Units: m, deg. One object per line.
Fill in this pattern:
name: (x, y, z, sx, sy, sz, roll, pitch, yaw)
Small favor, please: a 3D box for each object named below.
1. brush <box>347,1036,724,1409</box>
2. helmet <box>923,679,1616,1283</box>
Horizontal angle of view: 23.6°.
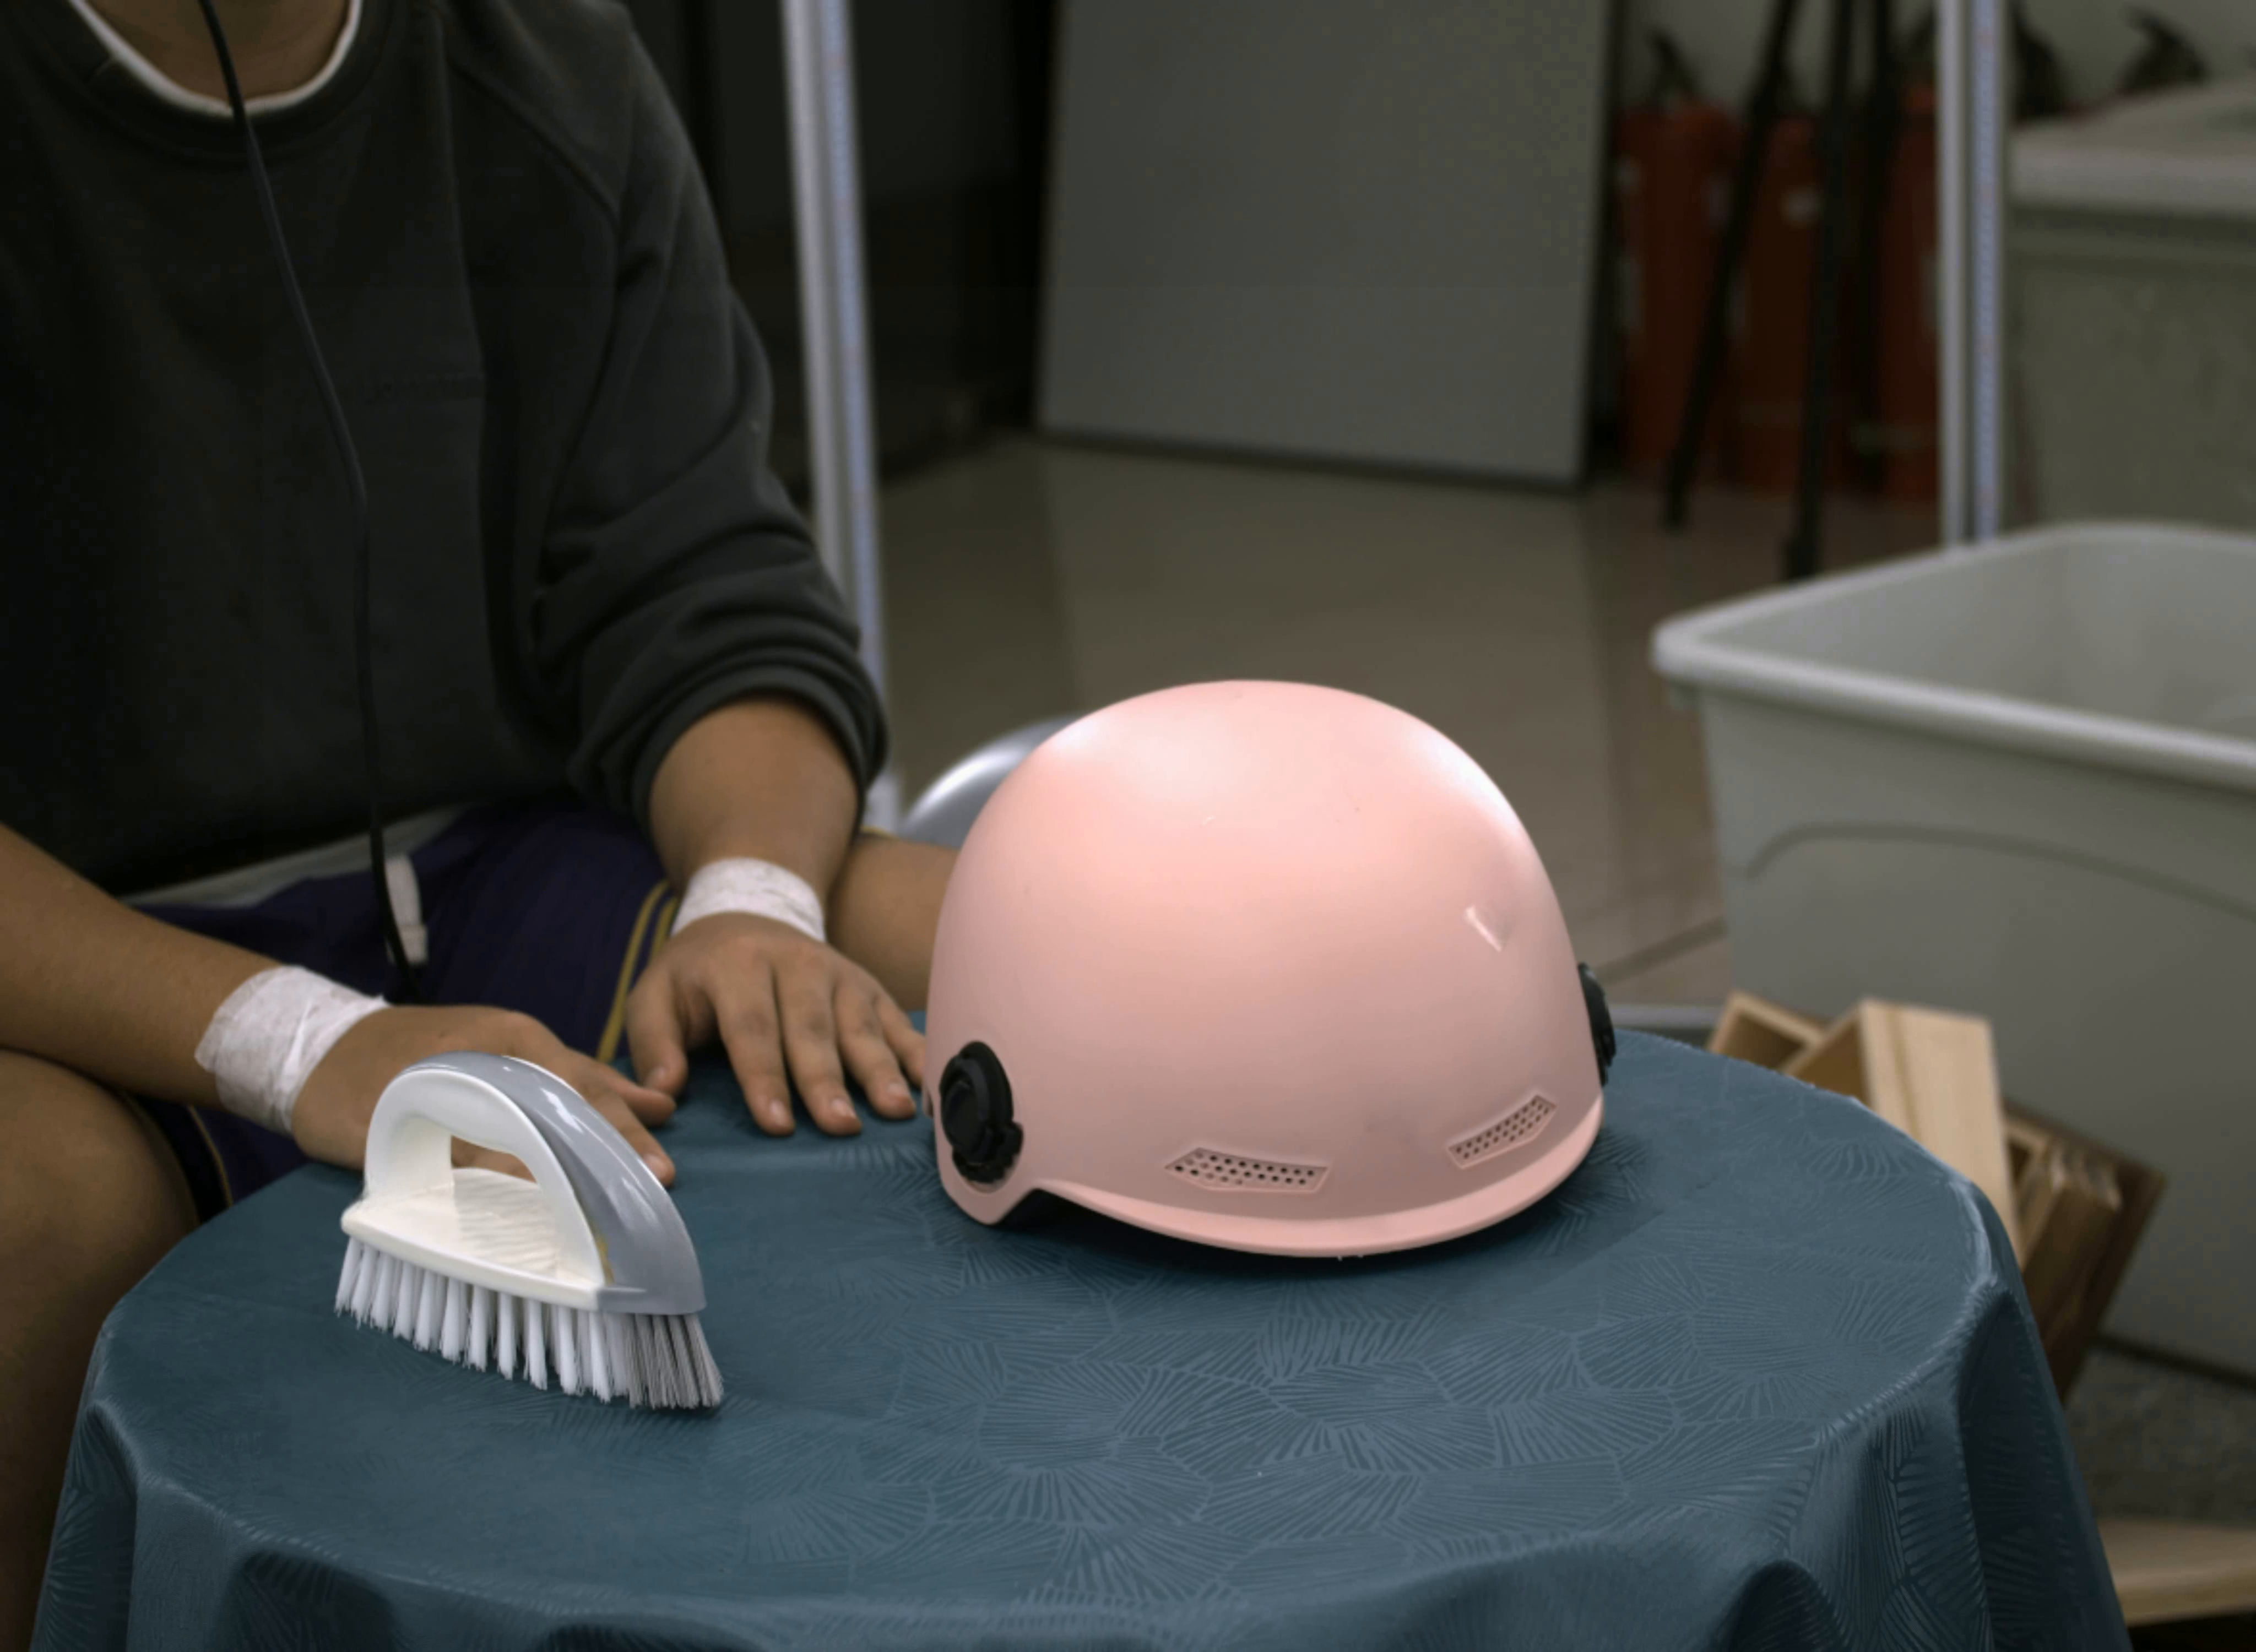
brush: (-0.177, 0.117, 1.645, 0.060, 0.095, 0.177, -15, 19, -35)
helmet: (0.043, 0.039, 1.776, 0.229, 0.160, 0.268, -7, 18, -16)
